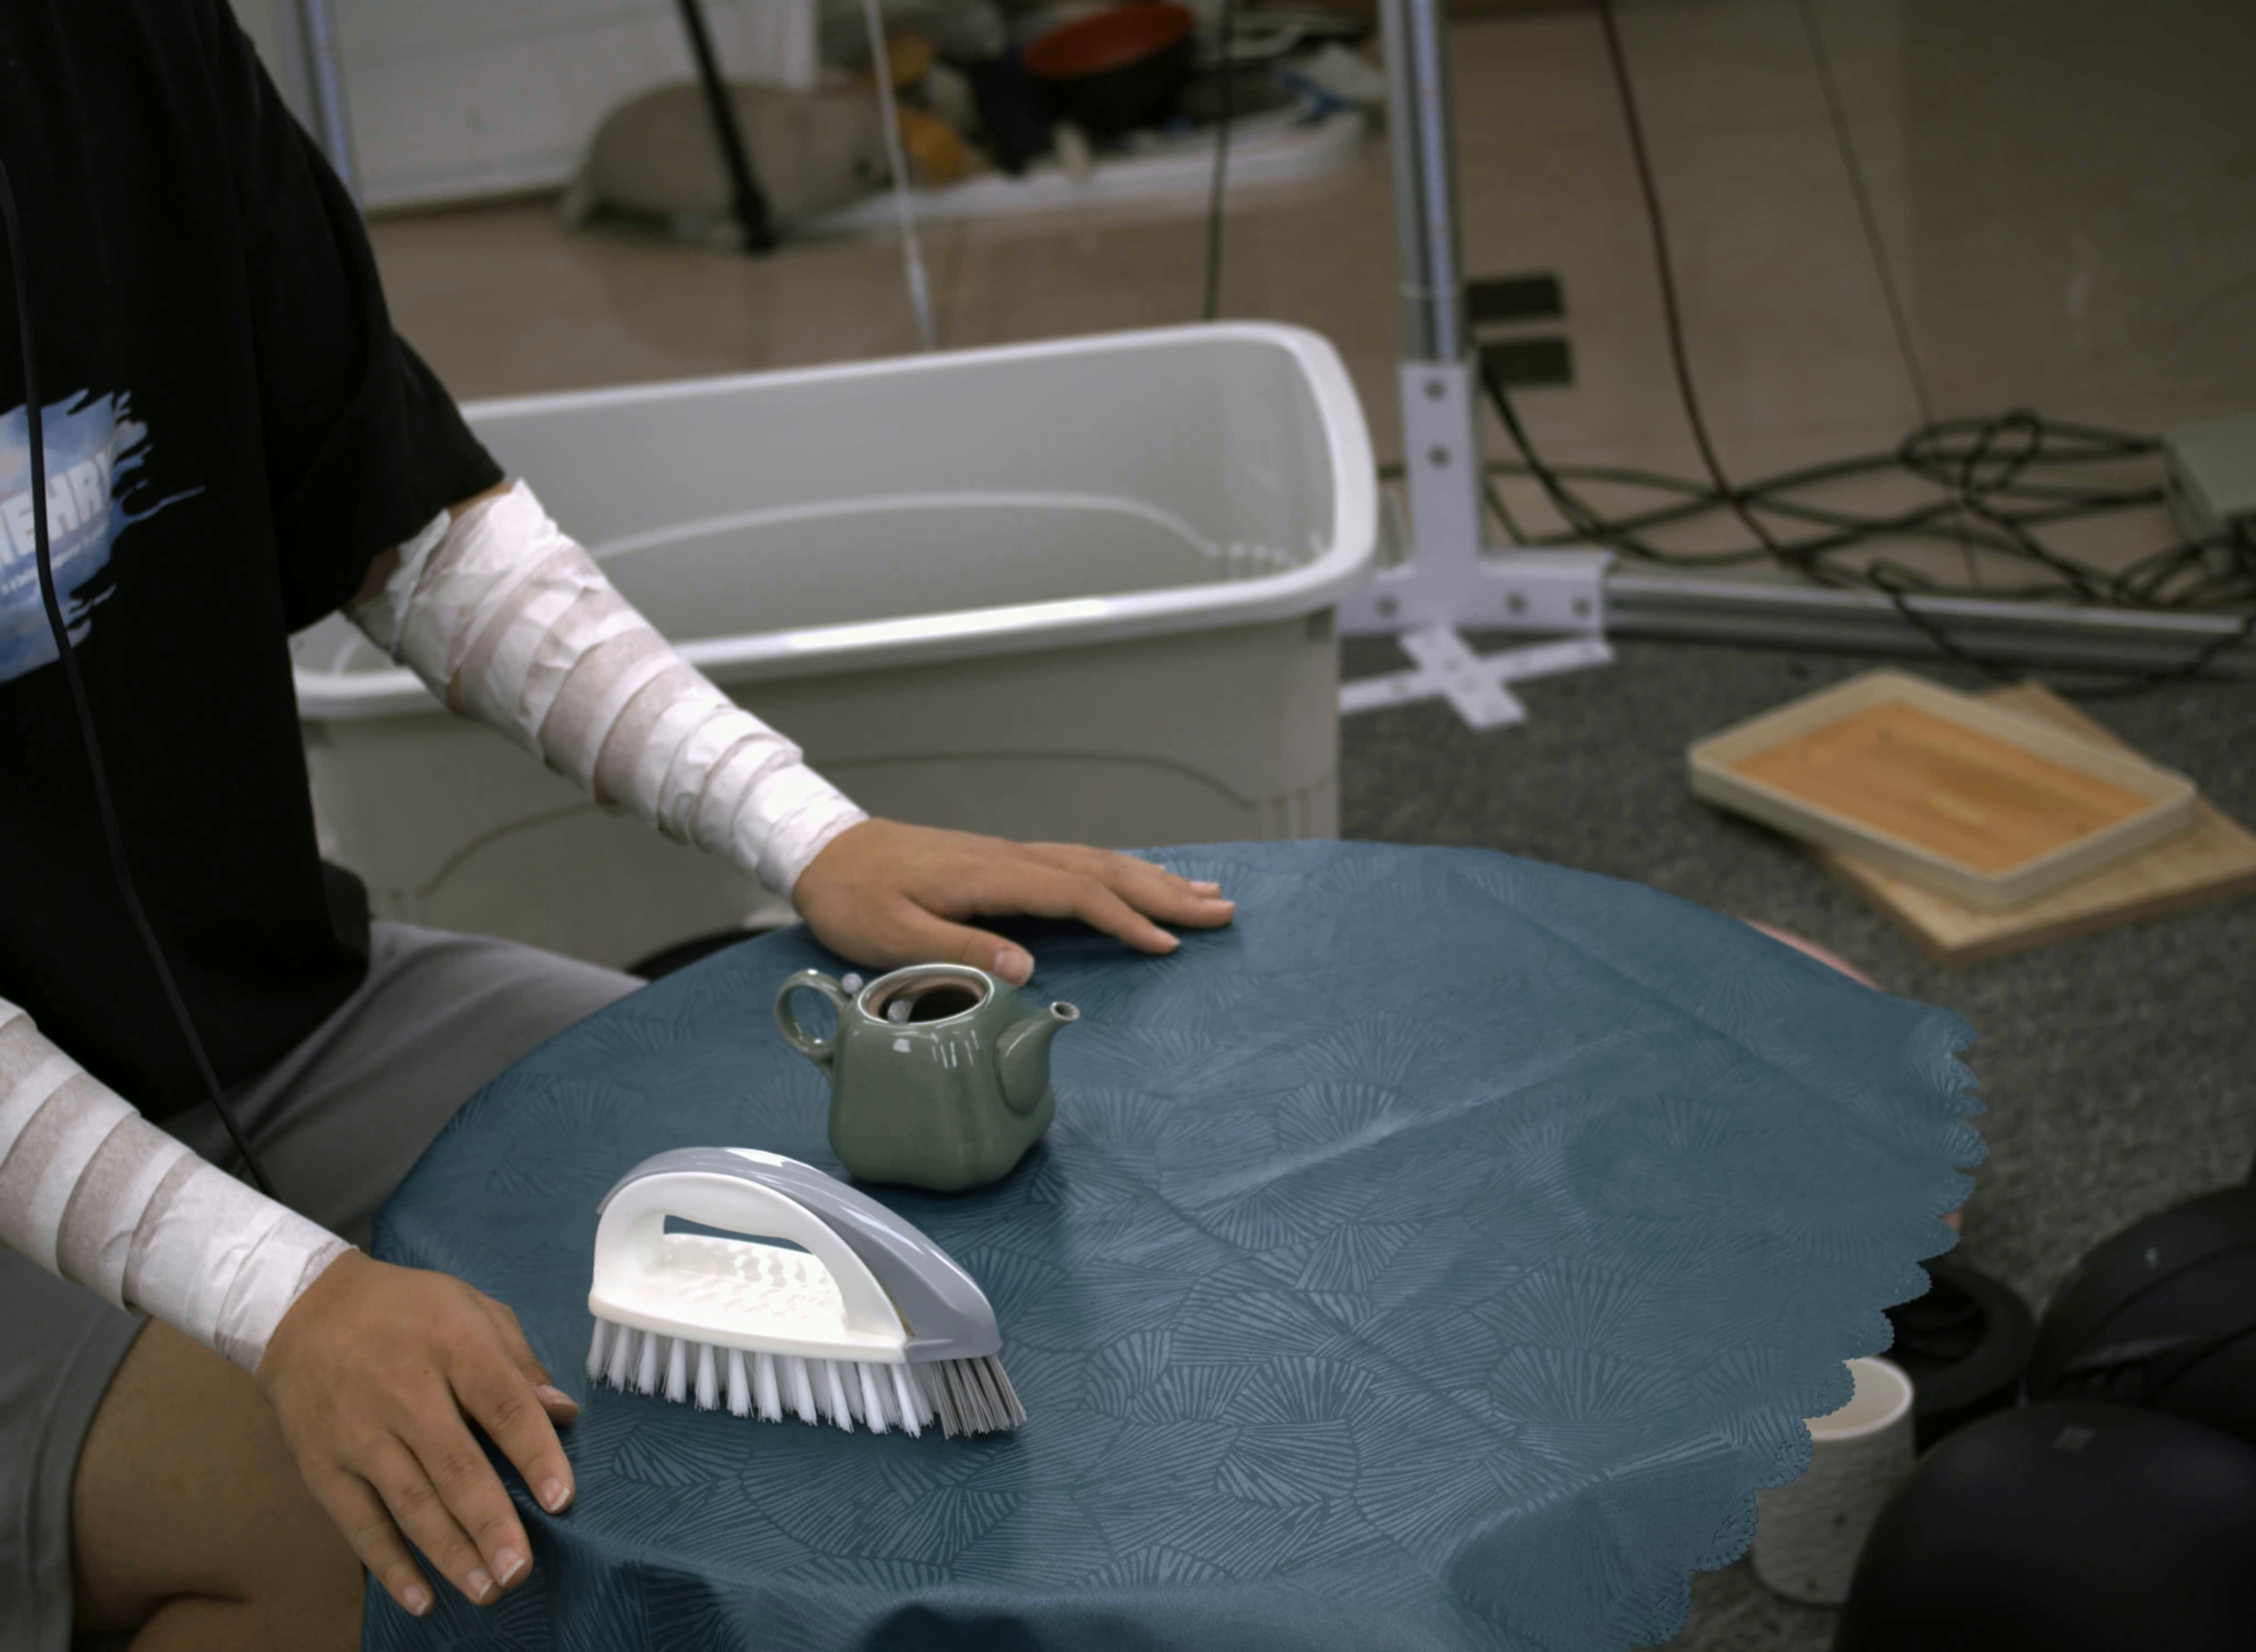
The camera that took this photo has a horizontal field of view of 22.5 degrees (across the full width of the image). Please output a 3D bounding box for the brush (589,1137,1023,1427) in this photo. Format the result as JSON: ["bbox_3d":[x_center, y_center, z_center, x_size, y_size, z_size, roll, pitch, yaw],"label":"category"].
[{"bbox_3d":[-0.116,0.159,2.023,0.174,0.096,0.061,11,33,30],"label":"brush"}]

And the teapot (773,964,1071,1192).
[{"bbox_3d":[-0.076,0.094,2.177,0.132,0.076,0.079,6,26,29],"label":"teapot"}]
